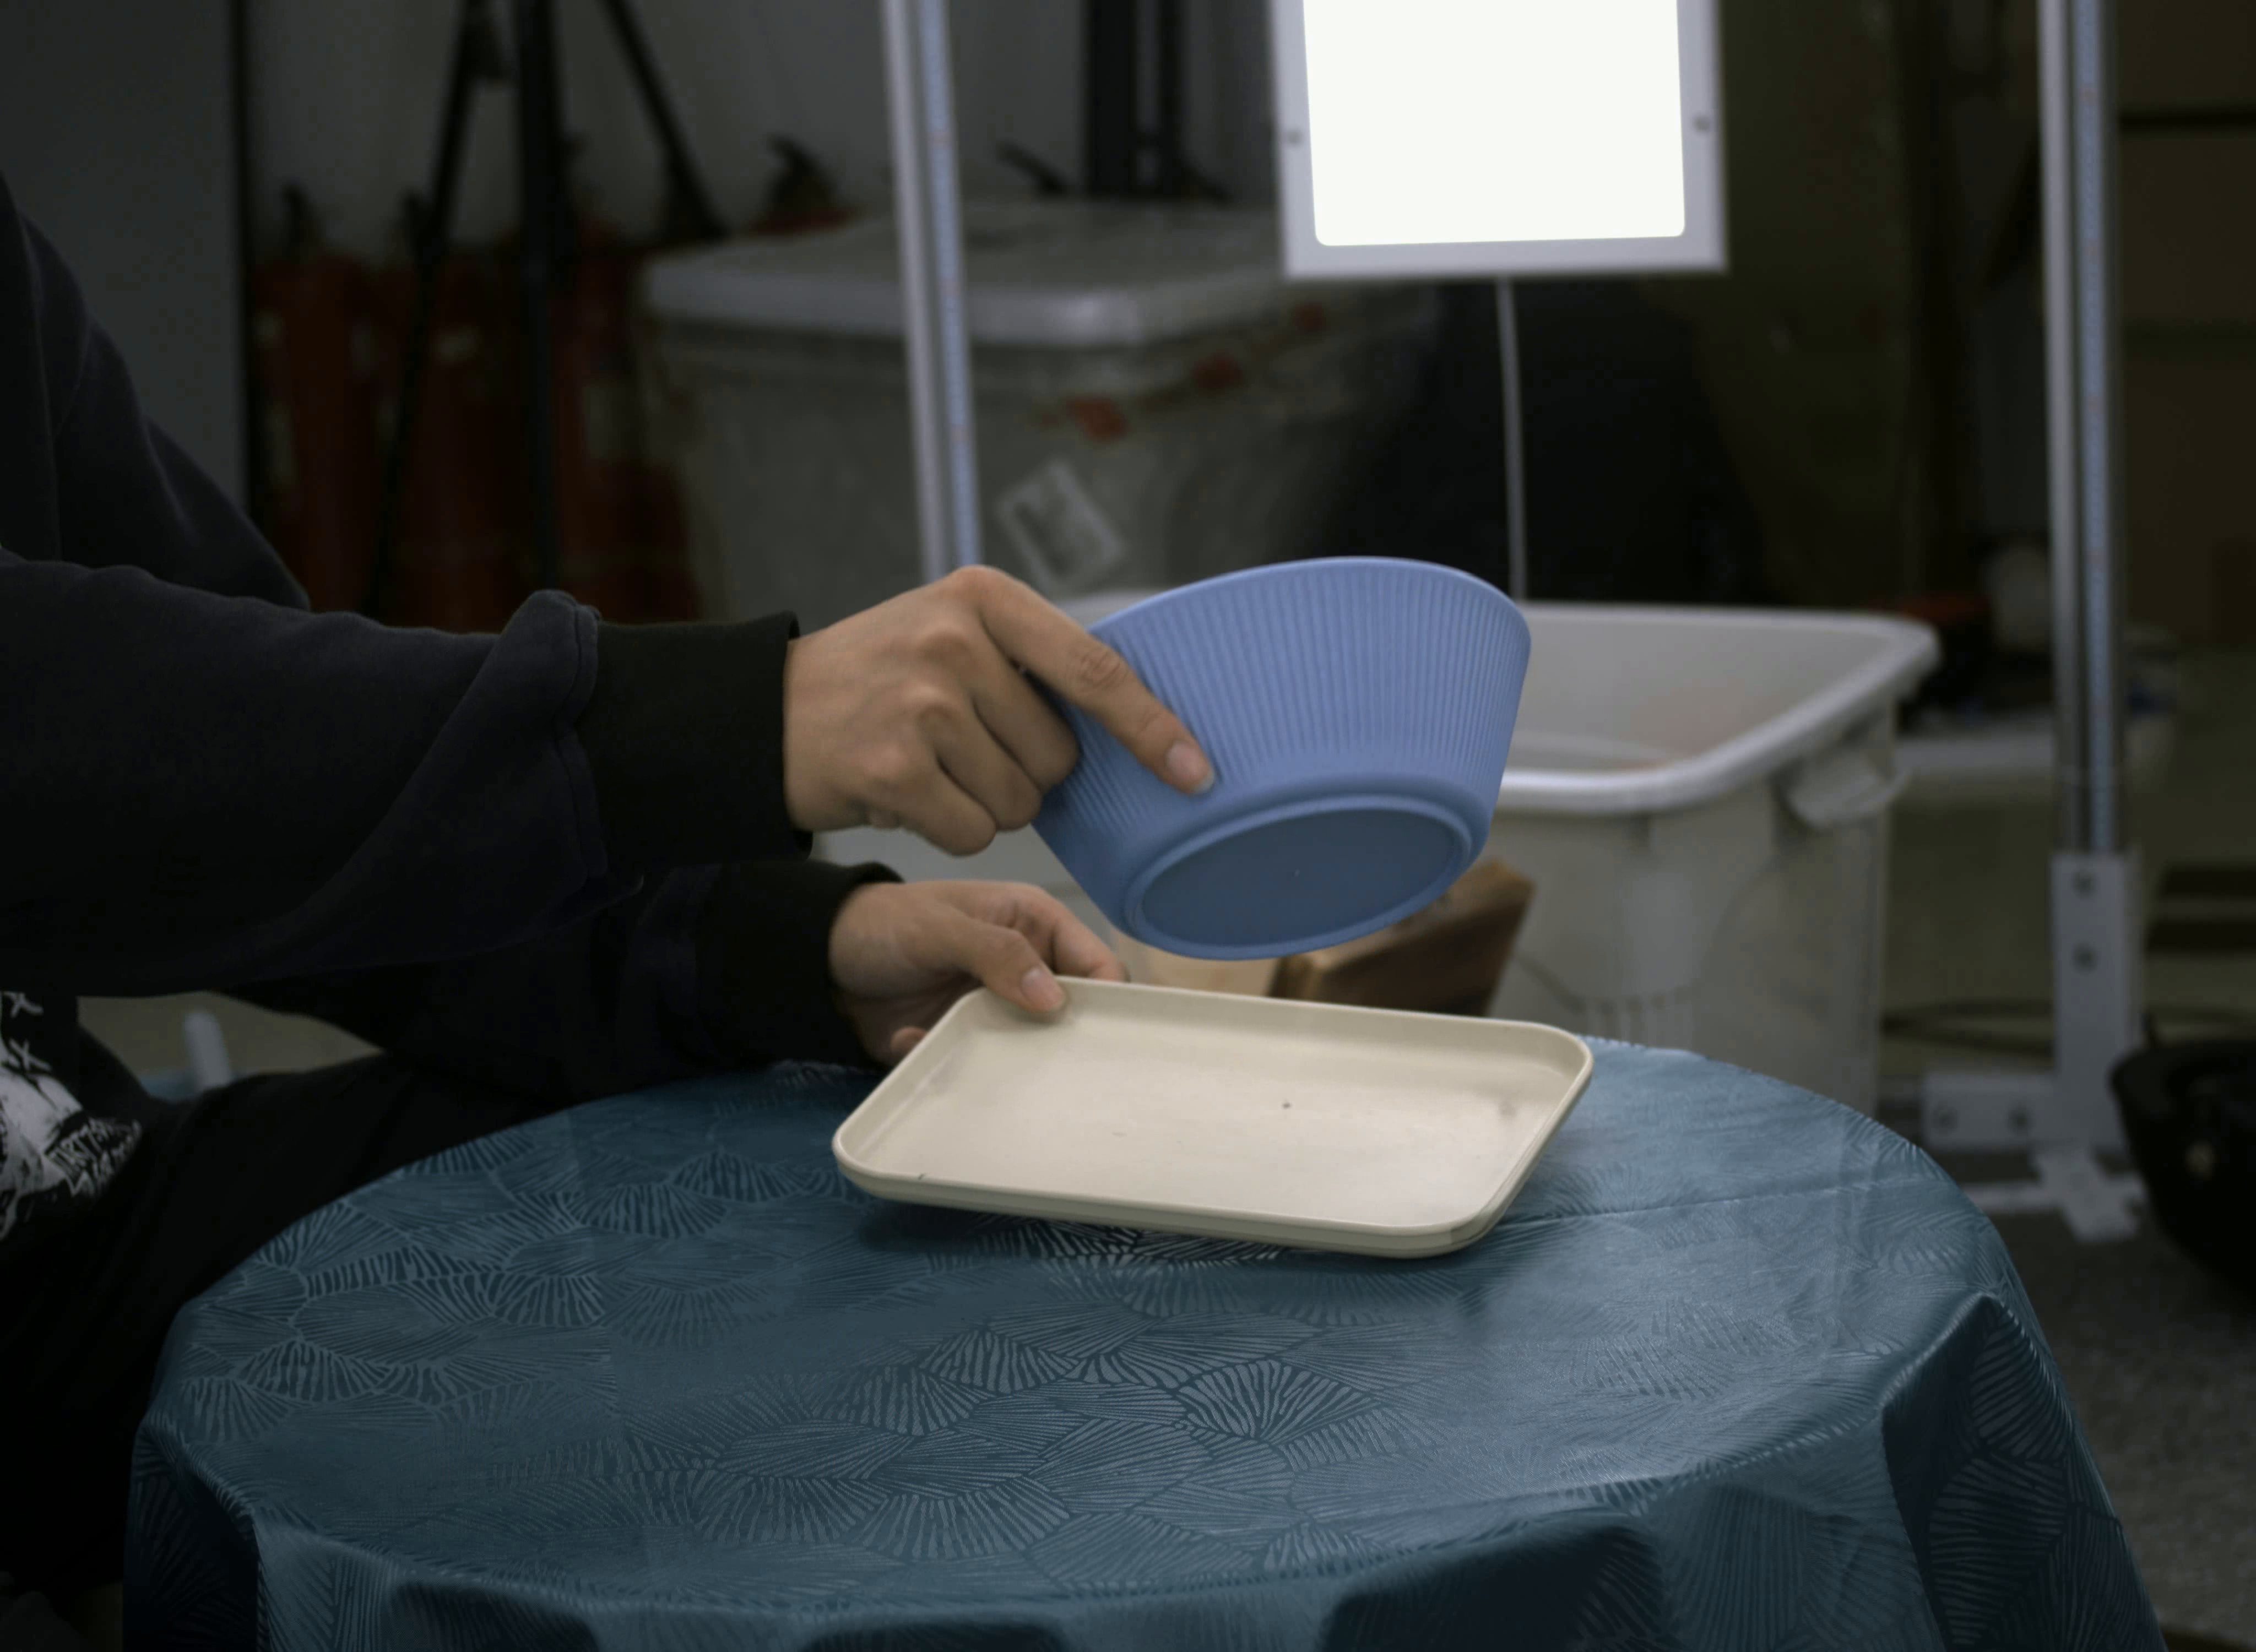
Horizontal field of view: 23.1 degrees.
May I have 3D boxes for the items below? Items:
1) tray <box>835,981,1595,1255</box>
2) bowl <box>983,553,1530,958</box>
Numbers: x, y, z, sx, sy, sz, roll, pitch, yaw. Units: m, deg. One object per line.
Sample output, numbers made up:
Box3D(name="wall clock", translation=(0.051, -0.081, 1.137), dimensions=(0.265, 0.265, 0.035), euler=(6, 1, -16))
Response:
Box3D(name="tray", translation=(0.031, 0.100, 1.897), dimensions=(0.243, 0.017, 0.168), euler=(5, 23, 22))
Box3D(name="bowl", translation=(0.047, -0.013, 1.704), dimensions=(0.175, 0.070, 0.177), euler=(-9, -25, -5))
